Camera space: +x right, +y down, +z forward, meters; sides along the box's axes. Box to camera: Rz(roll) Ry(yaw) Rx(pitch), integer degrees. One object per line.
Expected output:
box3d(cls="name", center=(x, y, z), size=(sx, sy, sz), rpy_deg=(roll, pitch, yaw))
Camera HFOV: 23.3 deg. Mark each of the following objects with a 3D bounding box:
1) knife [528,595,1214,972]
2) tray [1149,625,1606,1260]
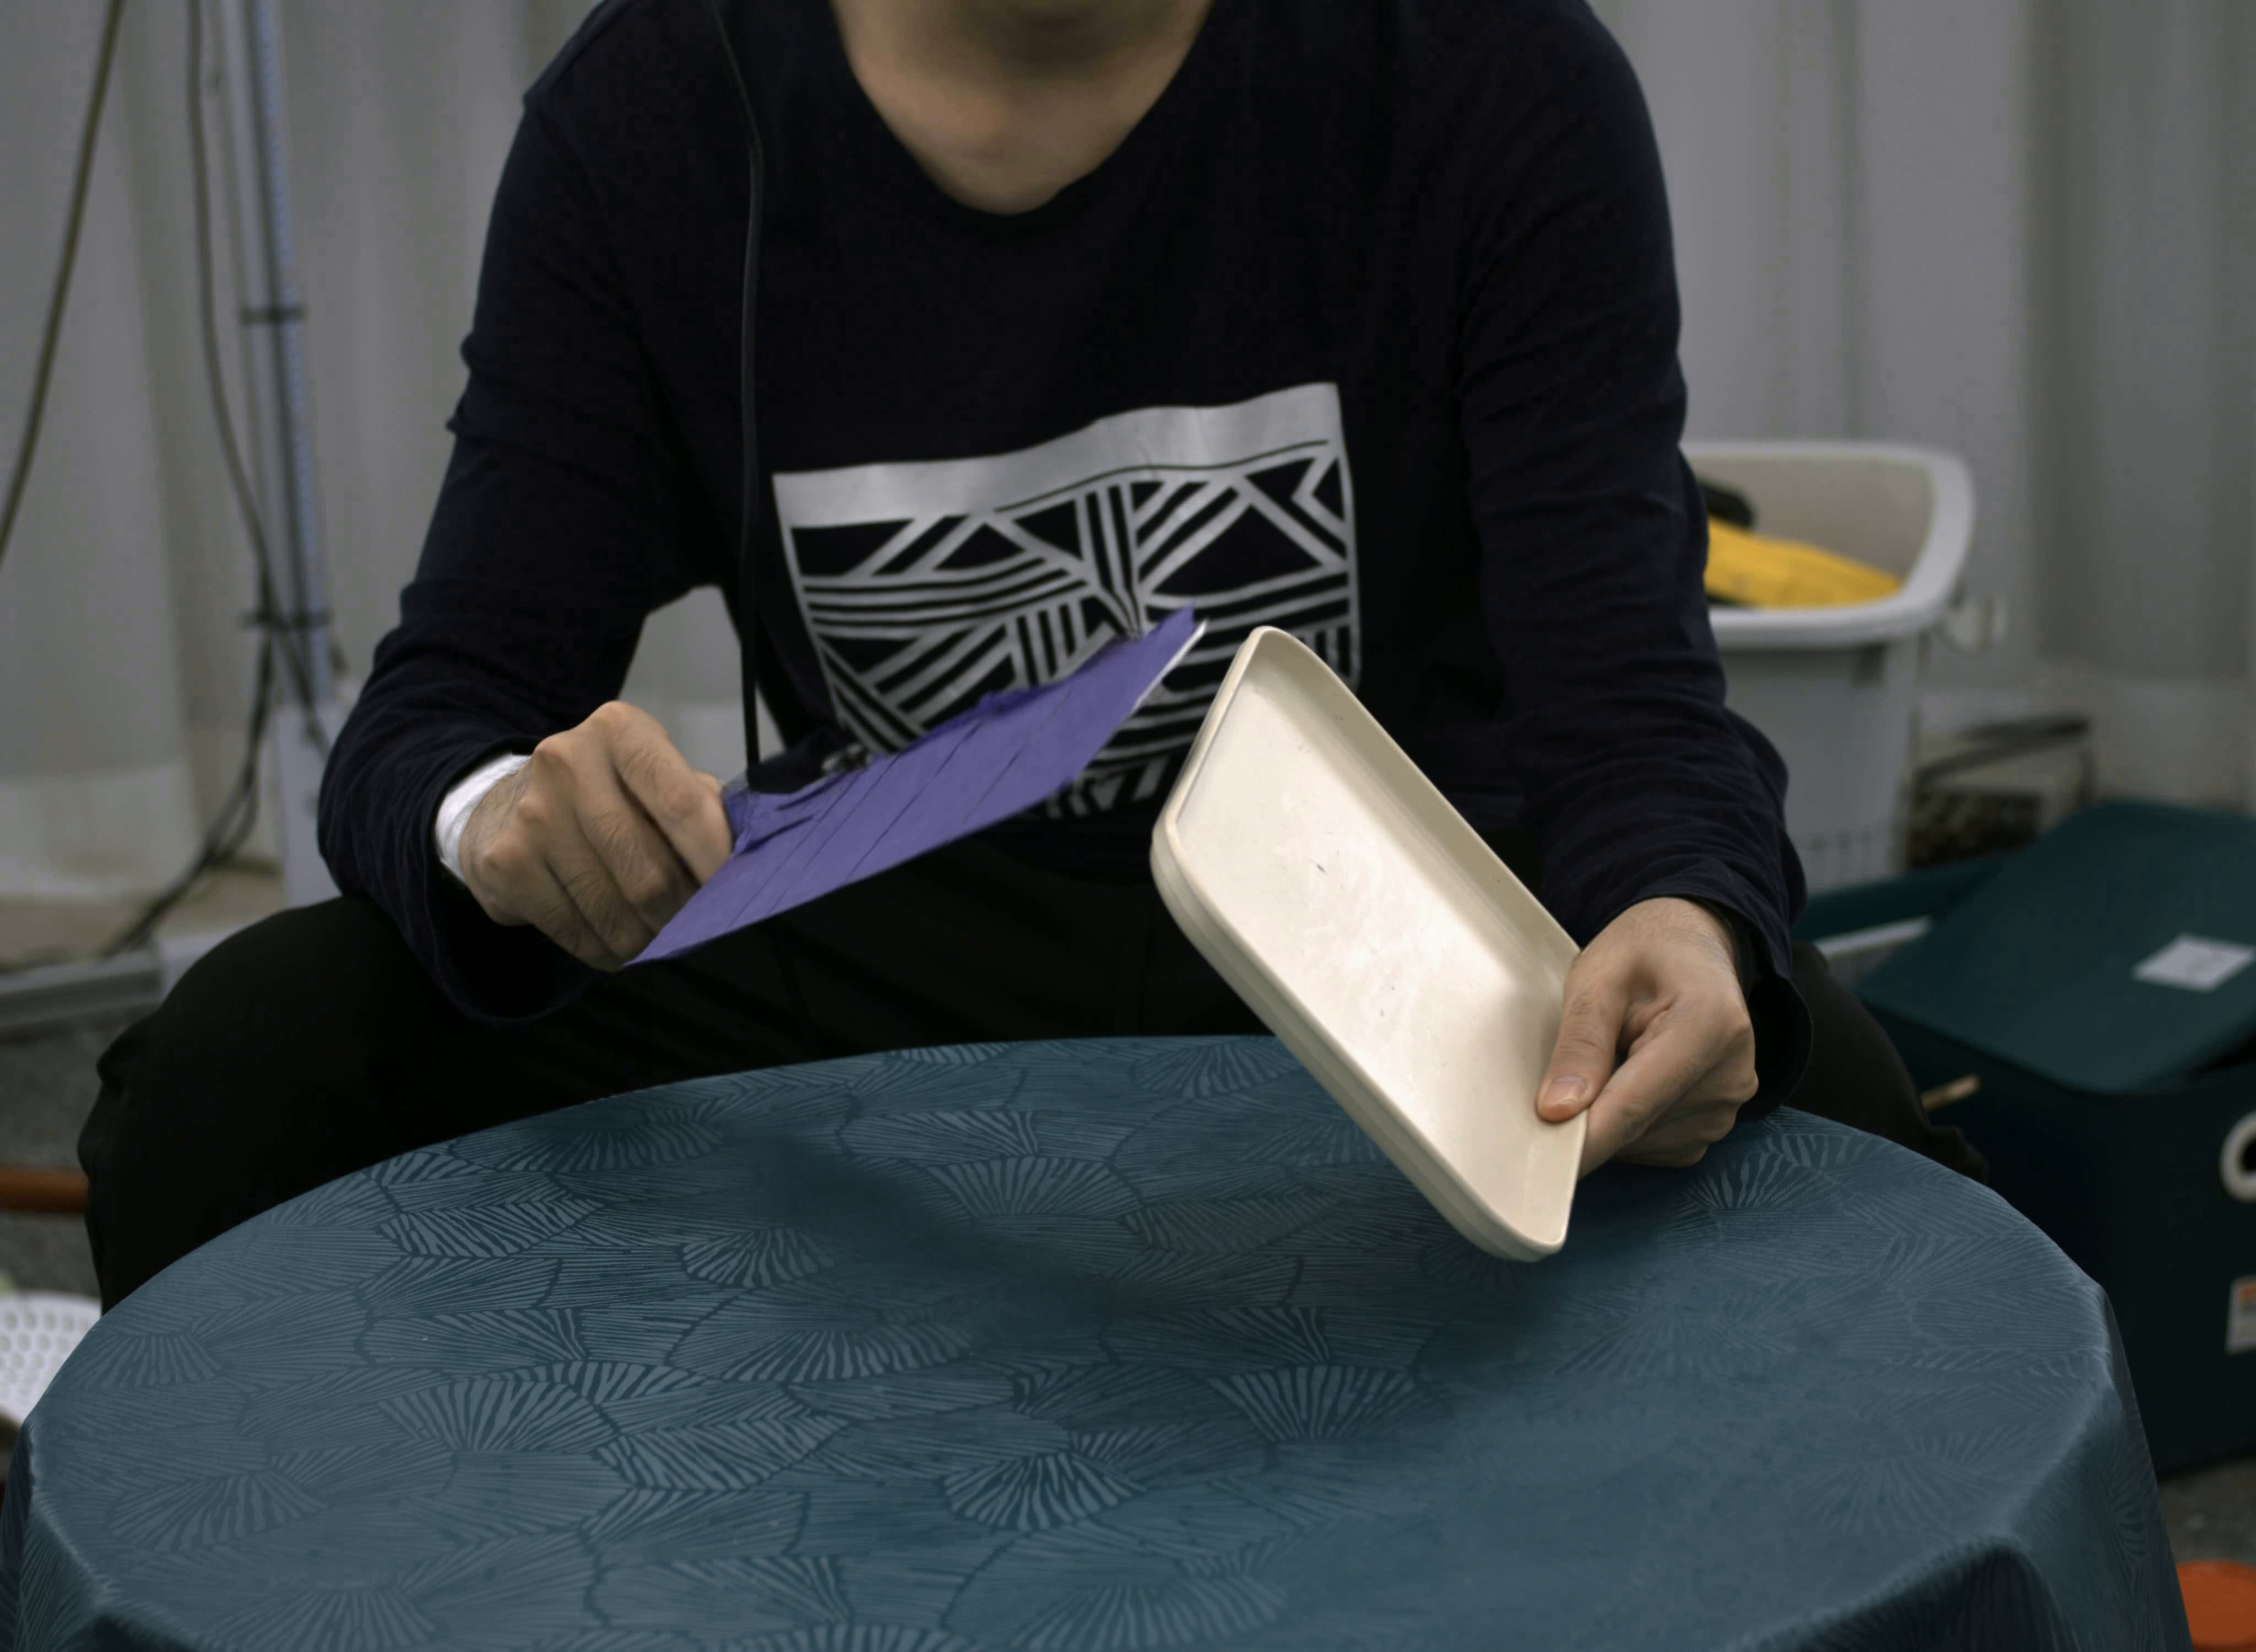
box3d(cls="knife", center=(-0.101, 0.003, 1.667), size=(0.314, 0.032, 0.104), rpy_deg=(-25, 17, 45))
box3d(cls="tray", center=(0.076, 0.033, 1.632), size=(0.017, 0.171, 0.241), rpy_deg=(-40, 7, 19))
